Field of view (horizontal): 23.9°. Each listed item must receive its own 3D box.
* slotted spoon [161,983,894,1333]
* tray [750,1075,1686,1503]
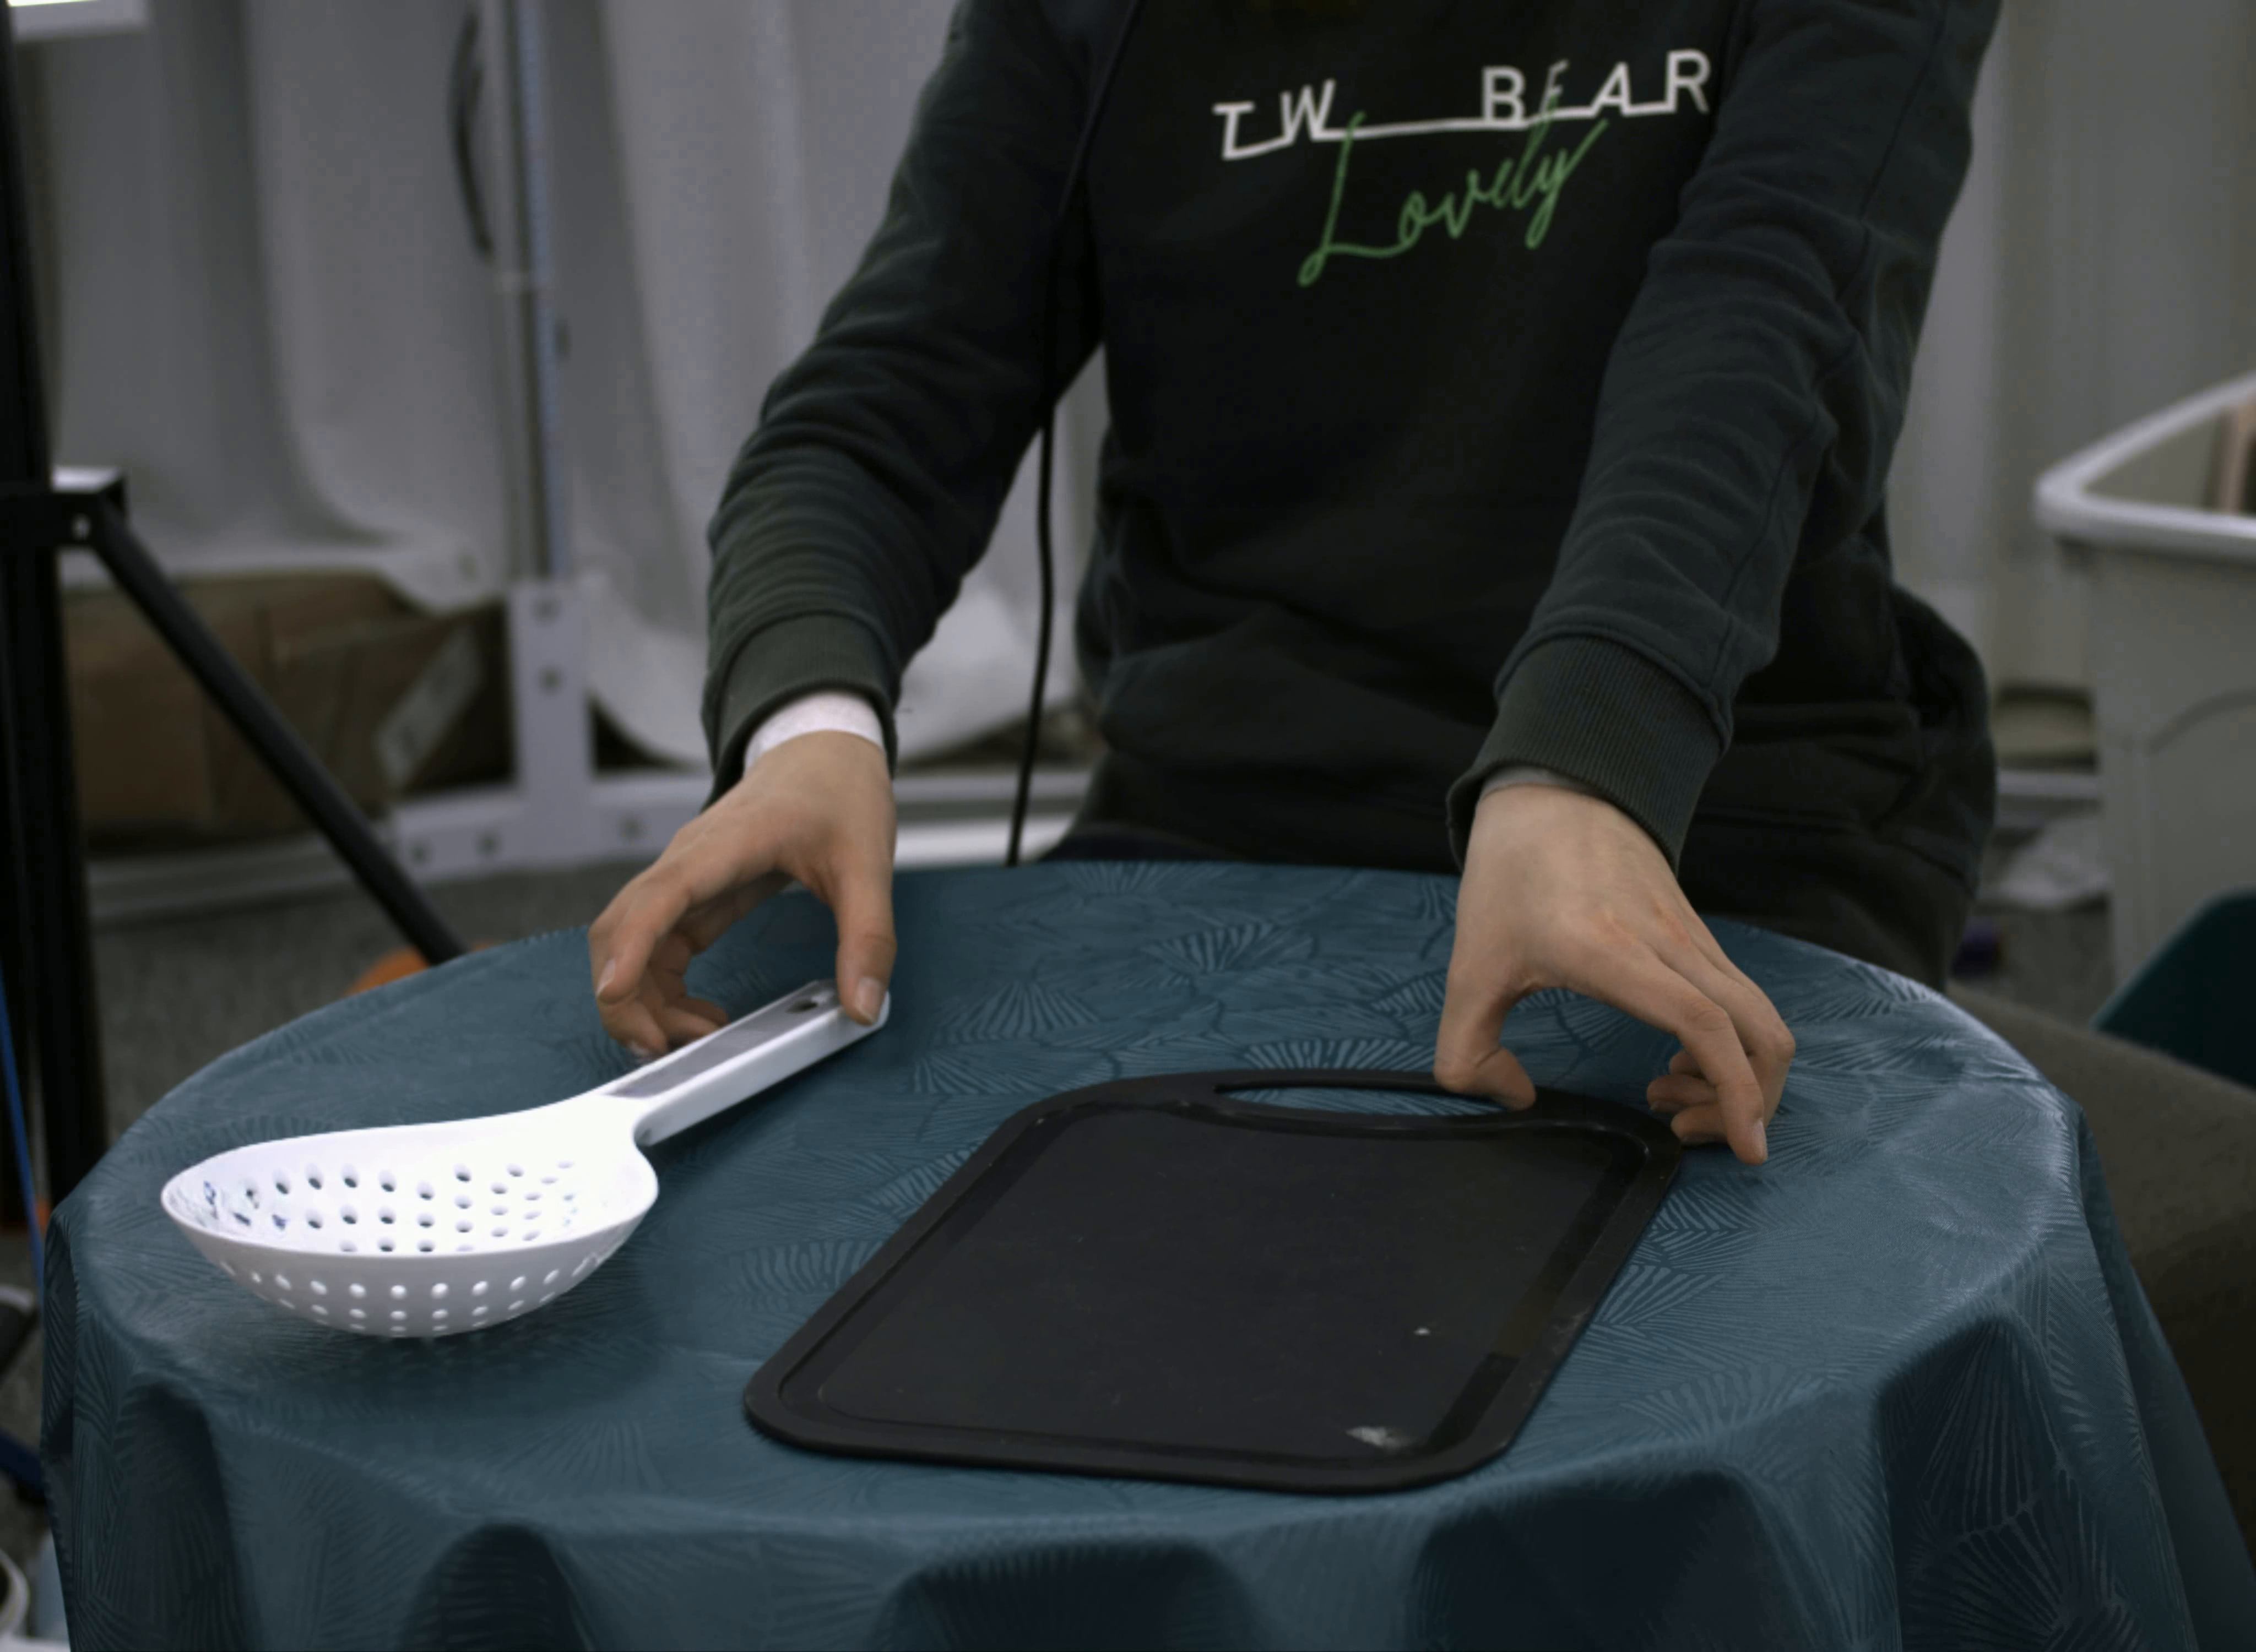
[{"bbox_3d":[-0.156,0.088,1.571,0.138,0.046,0.344,7,17,23],"label":"slotted spoon"},{"bbox_3d":[0.034,0.121,1.495,0.213,0.010,0.322,3,16,18],"label":"tray"}]
